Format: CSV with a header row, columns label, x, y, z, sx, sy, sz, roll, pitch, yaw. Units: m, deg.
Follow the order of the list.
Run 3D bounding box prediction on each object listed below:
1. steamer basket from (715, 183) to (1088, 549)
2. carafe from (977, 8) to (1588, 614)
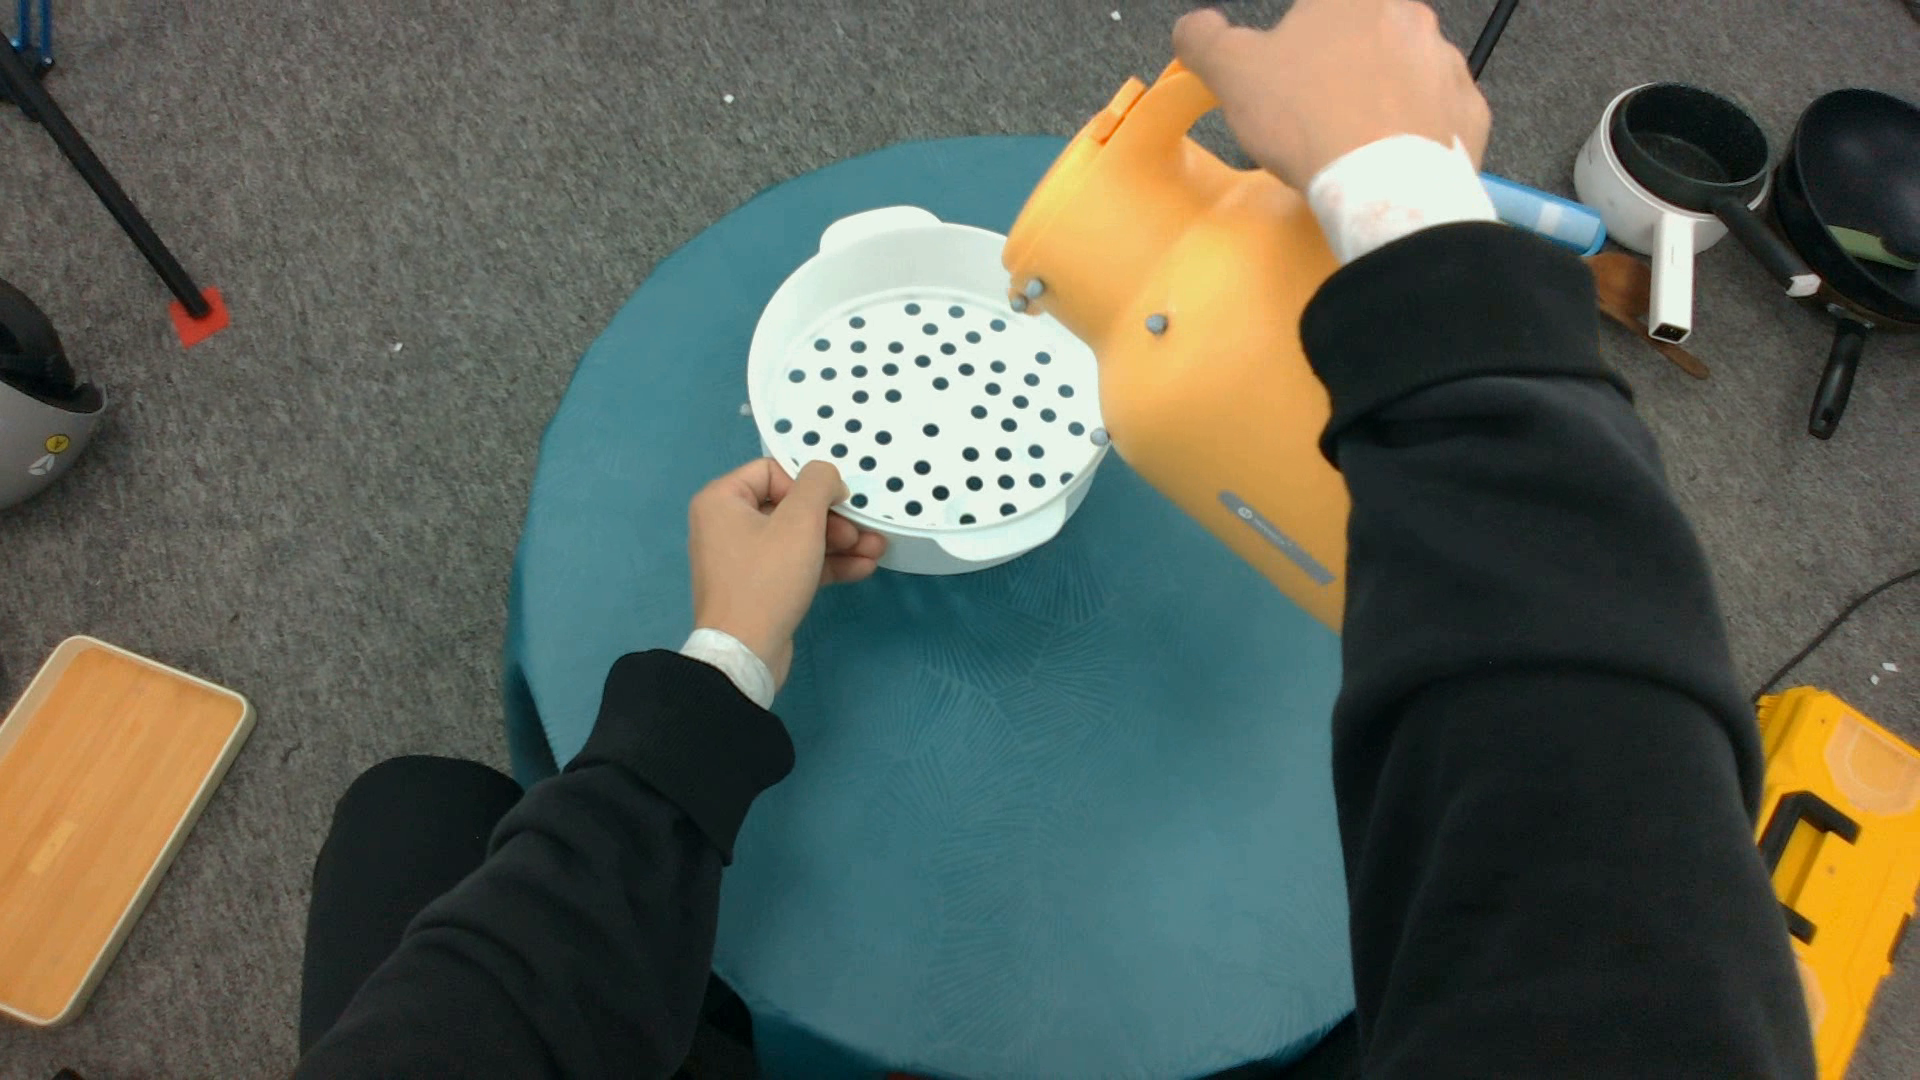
label,x,y,z,sx,sy,sz,roll,pitch,yaw
steamer basket,-0.032,-0.091,0.761,0.202,0.069,0.231,-17,65,-15
carafe,0.138,-0.101,0.593,0.260,0.201,0.164,36,61,-4
